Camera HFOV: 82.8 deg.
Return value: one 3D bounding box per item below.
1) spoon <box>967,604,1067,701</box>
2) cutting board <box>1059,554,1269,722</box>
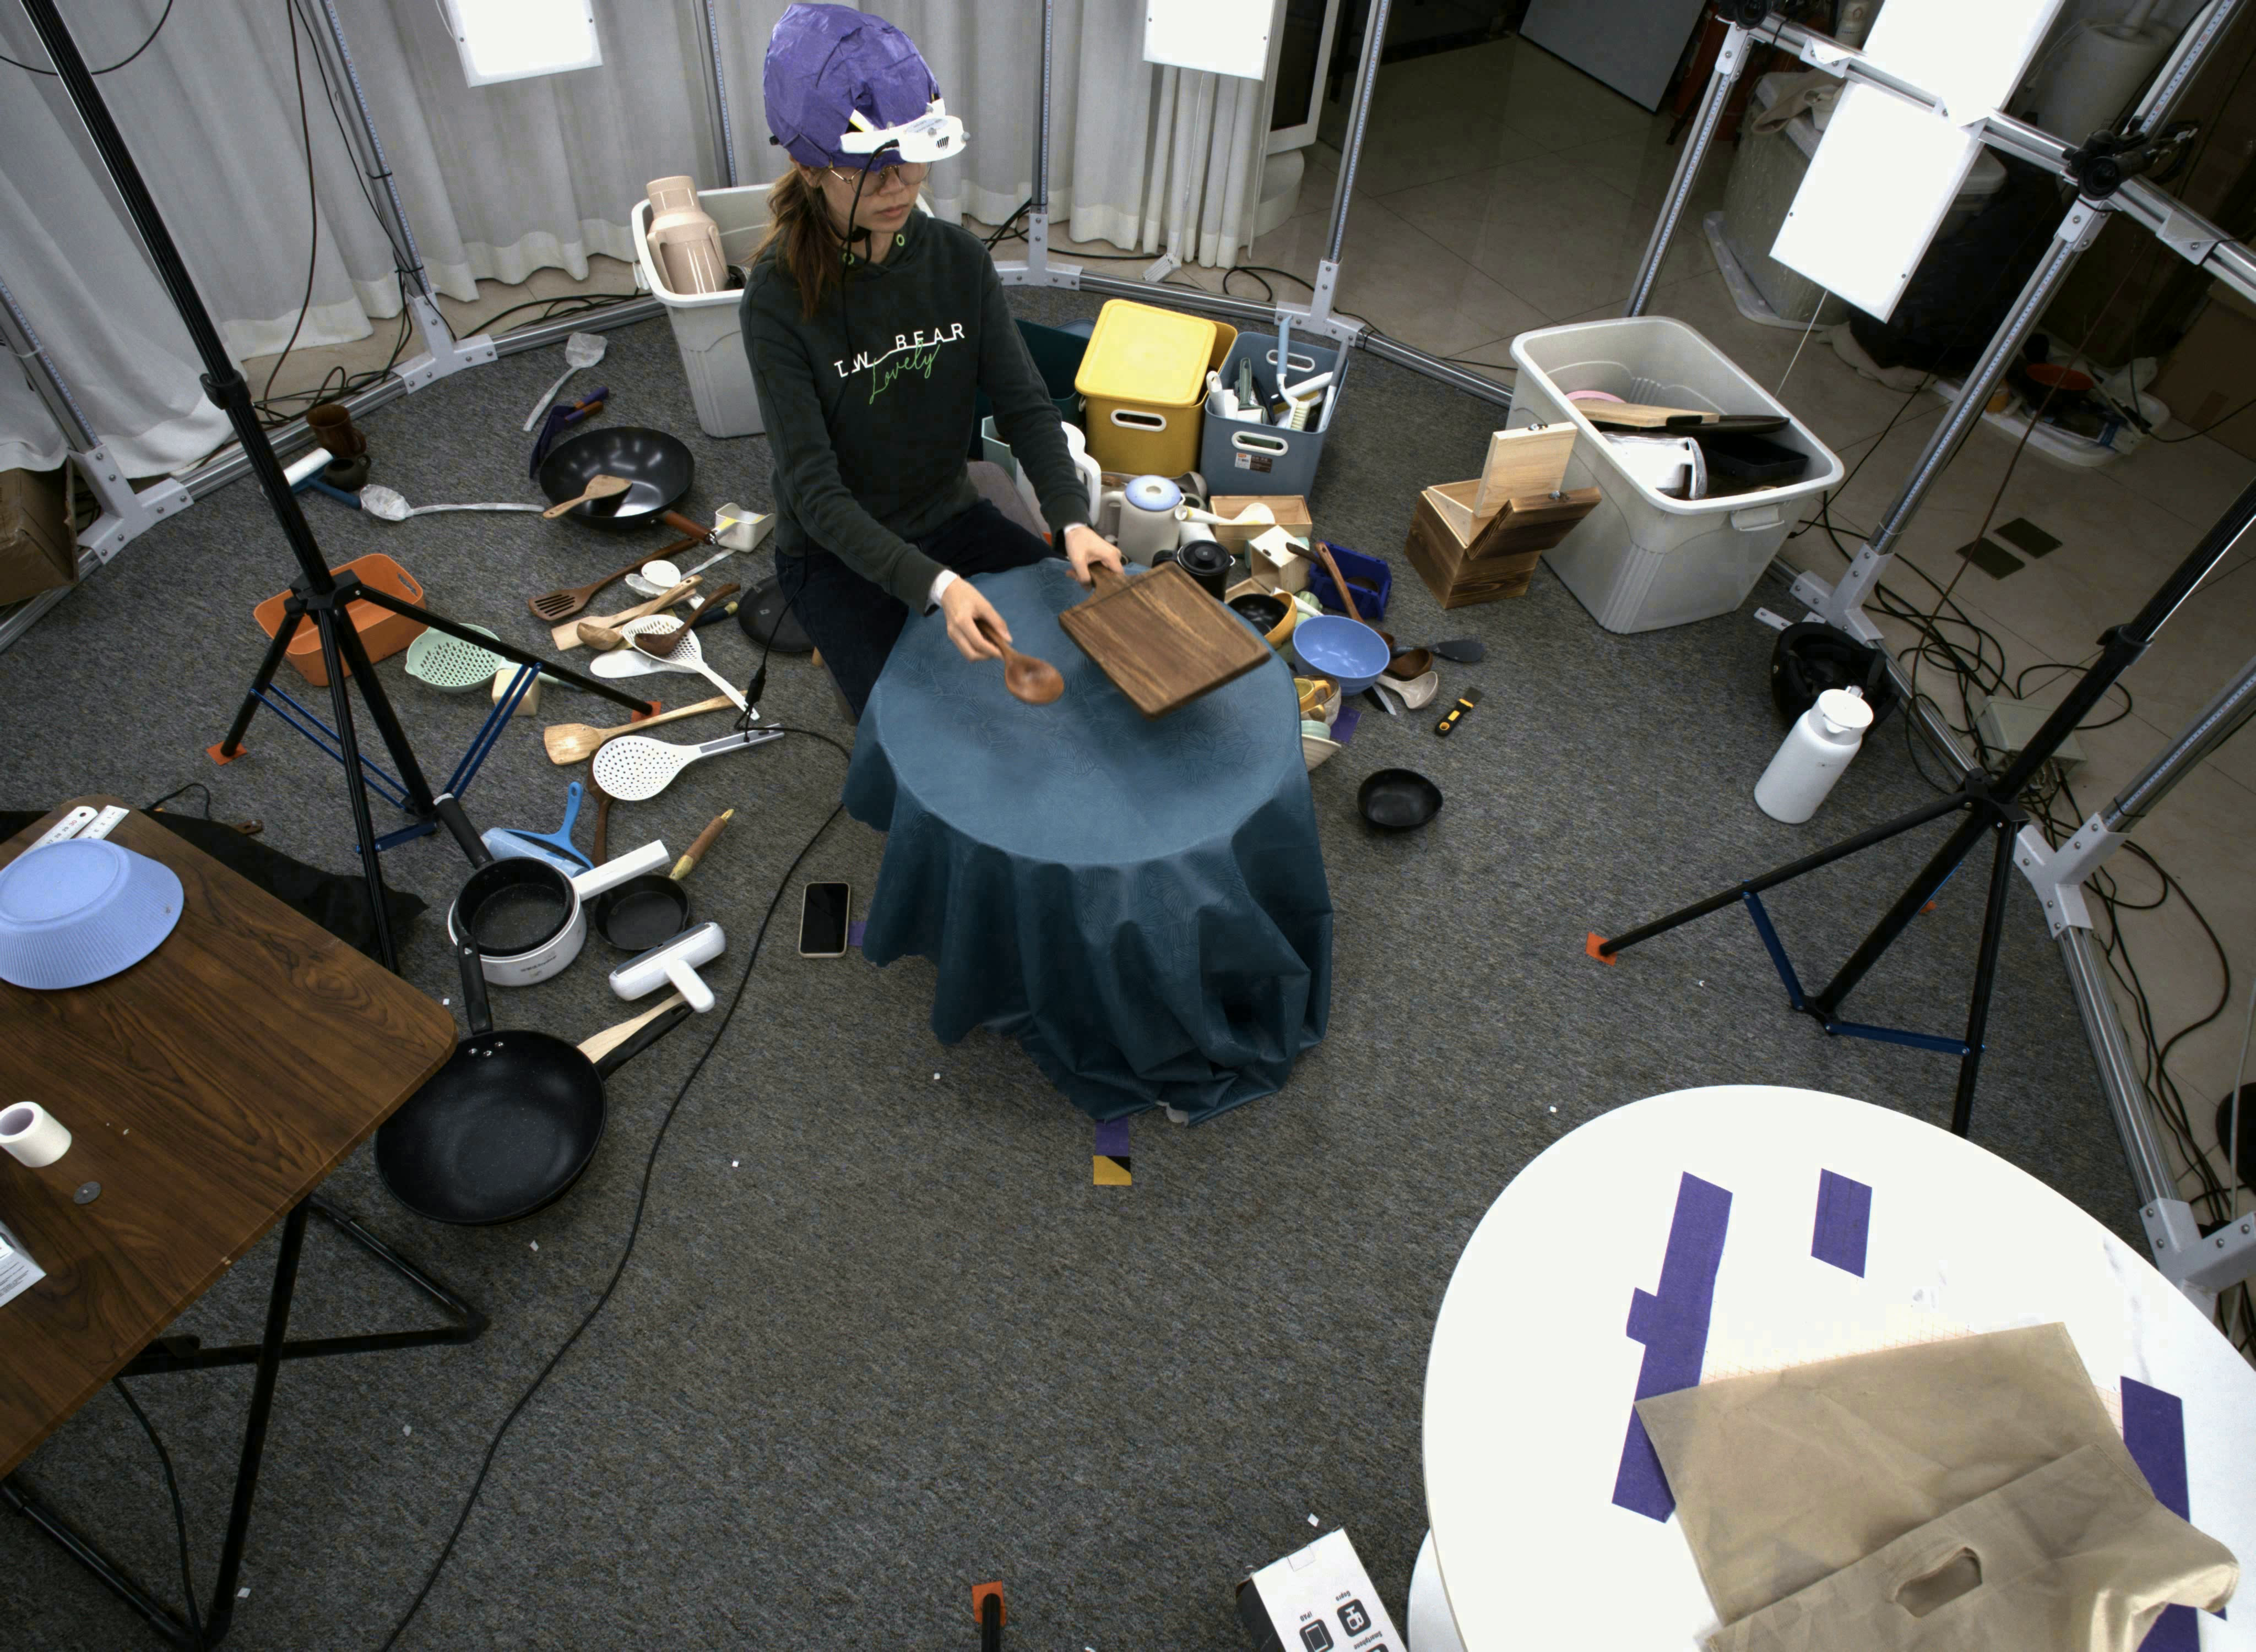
[{"bbox_3d":[-0.157,-0.236,1.744,0.076,0.017,0.220,-24,54,-24],"label":"spoon"},{"bbox_3d":[0.021,-0.292,1.815,0.202,0.022,0.360,-29,50,-14],"label":"cutting board"}]
